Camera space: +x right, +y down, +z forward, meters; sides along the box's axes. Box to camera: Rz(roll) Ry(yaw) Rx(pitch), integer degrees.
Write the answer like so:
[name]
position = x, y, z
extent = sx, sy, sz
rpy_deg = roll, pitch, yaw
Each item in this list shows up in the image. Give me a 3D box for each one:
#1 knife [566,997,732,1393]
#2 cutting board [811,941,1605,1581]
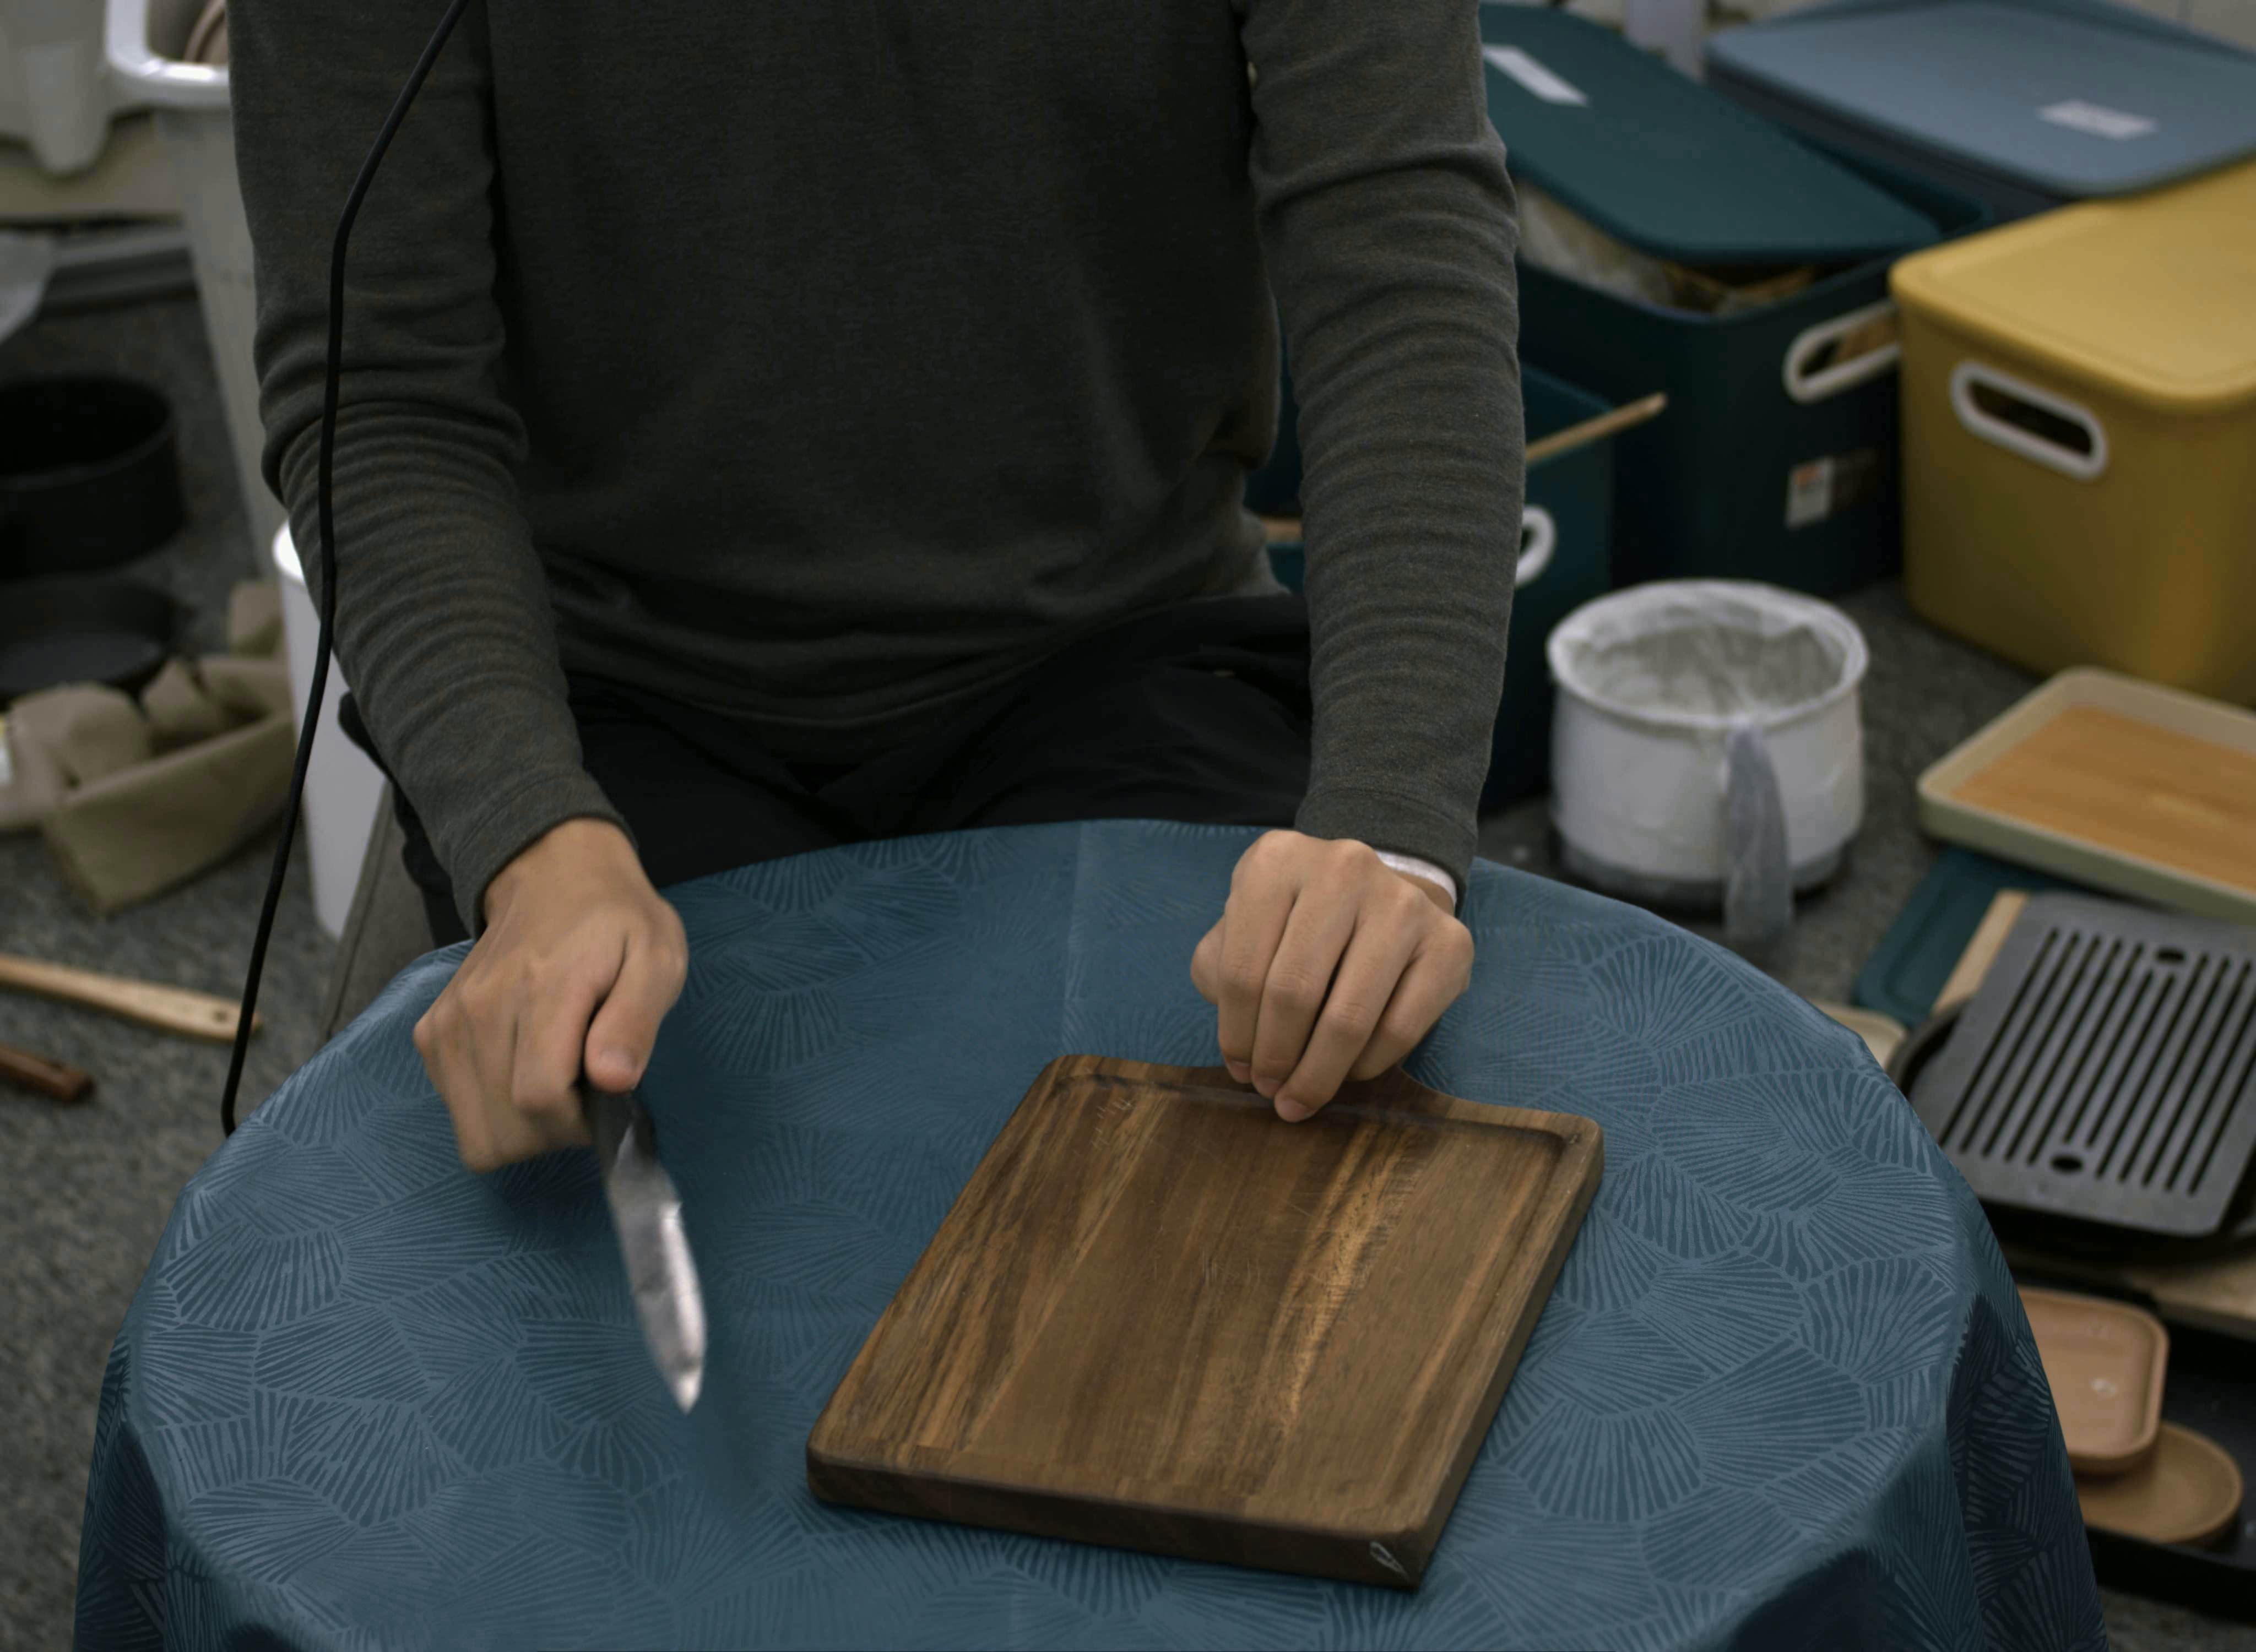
[knife]
position = -0.153, 0.116, 1.778
extent = 0.024, 0.016, 0.241
rpy_deg = -1, 27, -15
[cutting board]
position = 0.045, 0.128, 1.823
extent = 0.199, 0.023, 0.358
rpy_deg = 6, 28, 16
